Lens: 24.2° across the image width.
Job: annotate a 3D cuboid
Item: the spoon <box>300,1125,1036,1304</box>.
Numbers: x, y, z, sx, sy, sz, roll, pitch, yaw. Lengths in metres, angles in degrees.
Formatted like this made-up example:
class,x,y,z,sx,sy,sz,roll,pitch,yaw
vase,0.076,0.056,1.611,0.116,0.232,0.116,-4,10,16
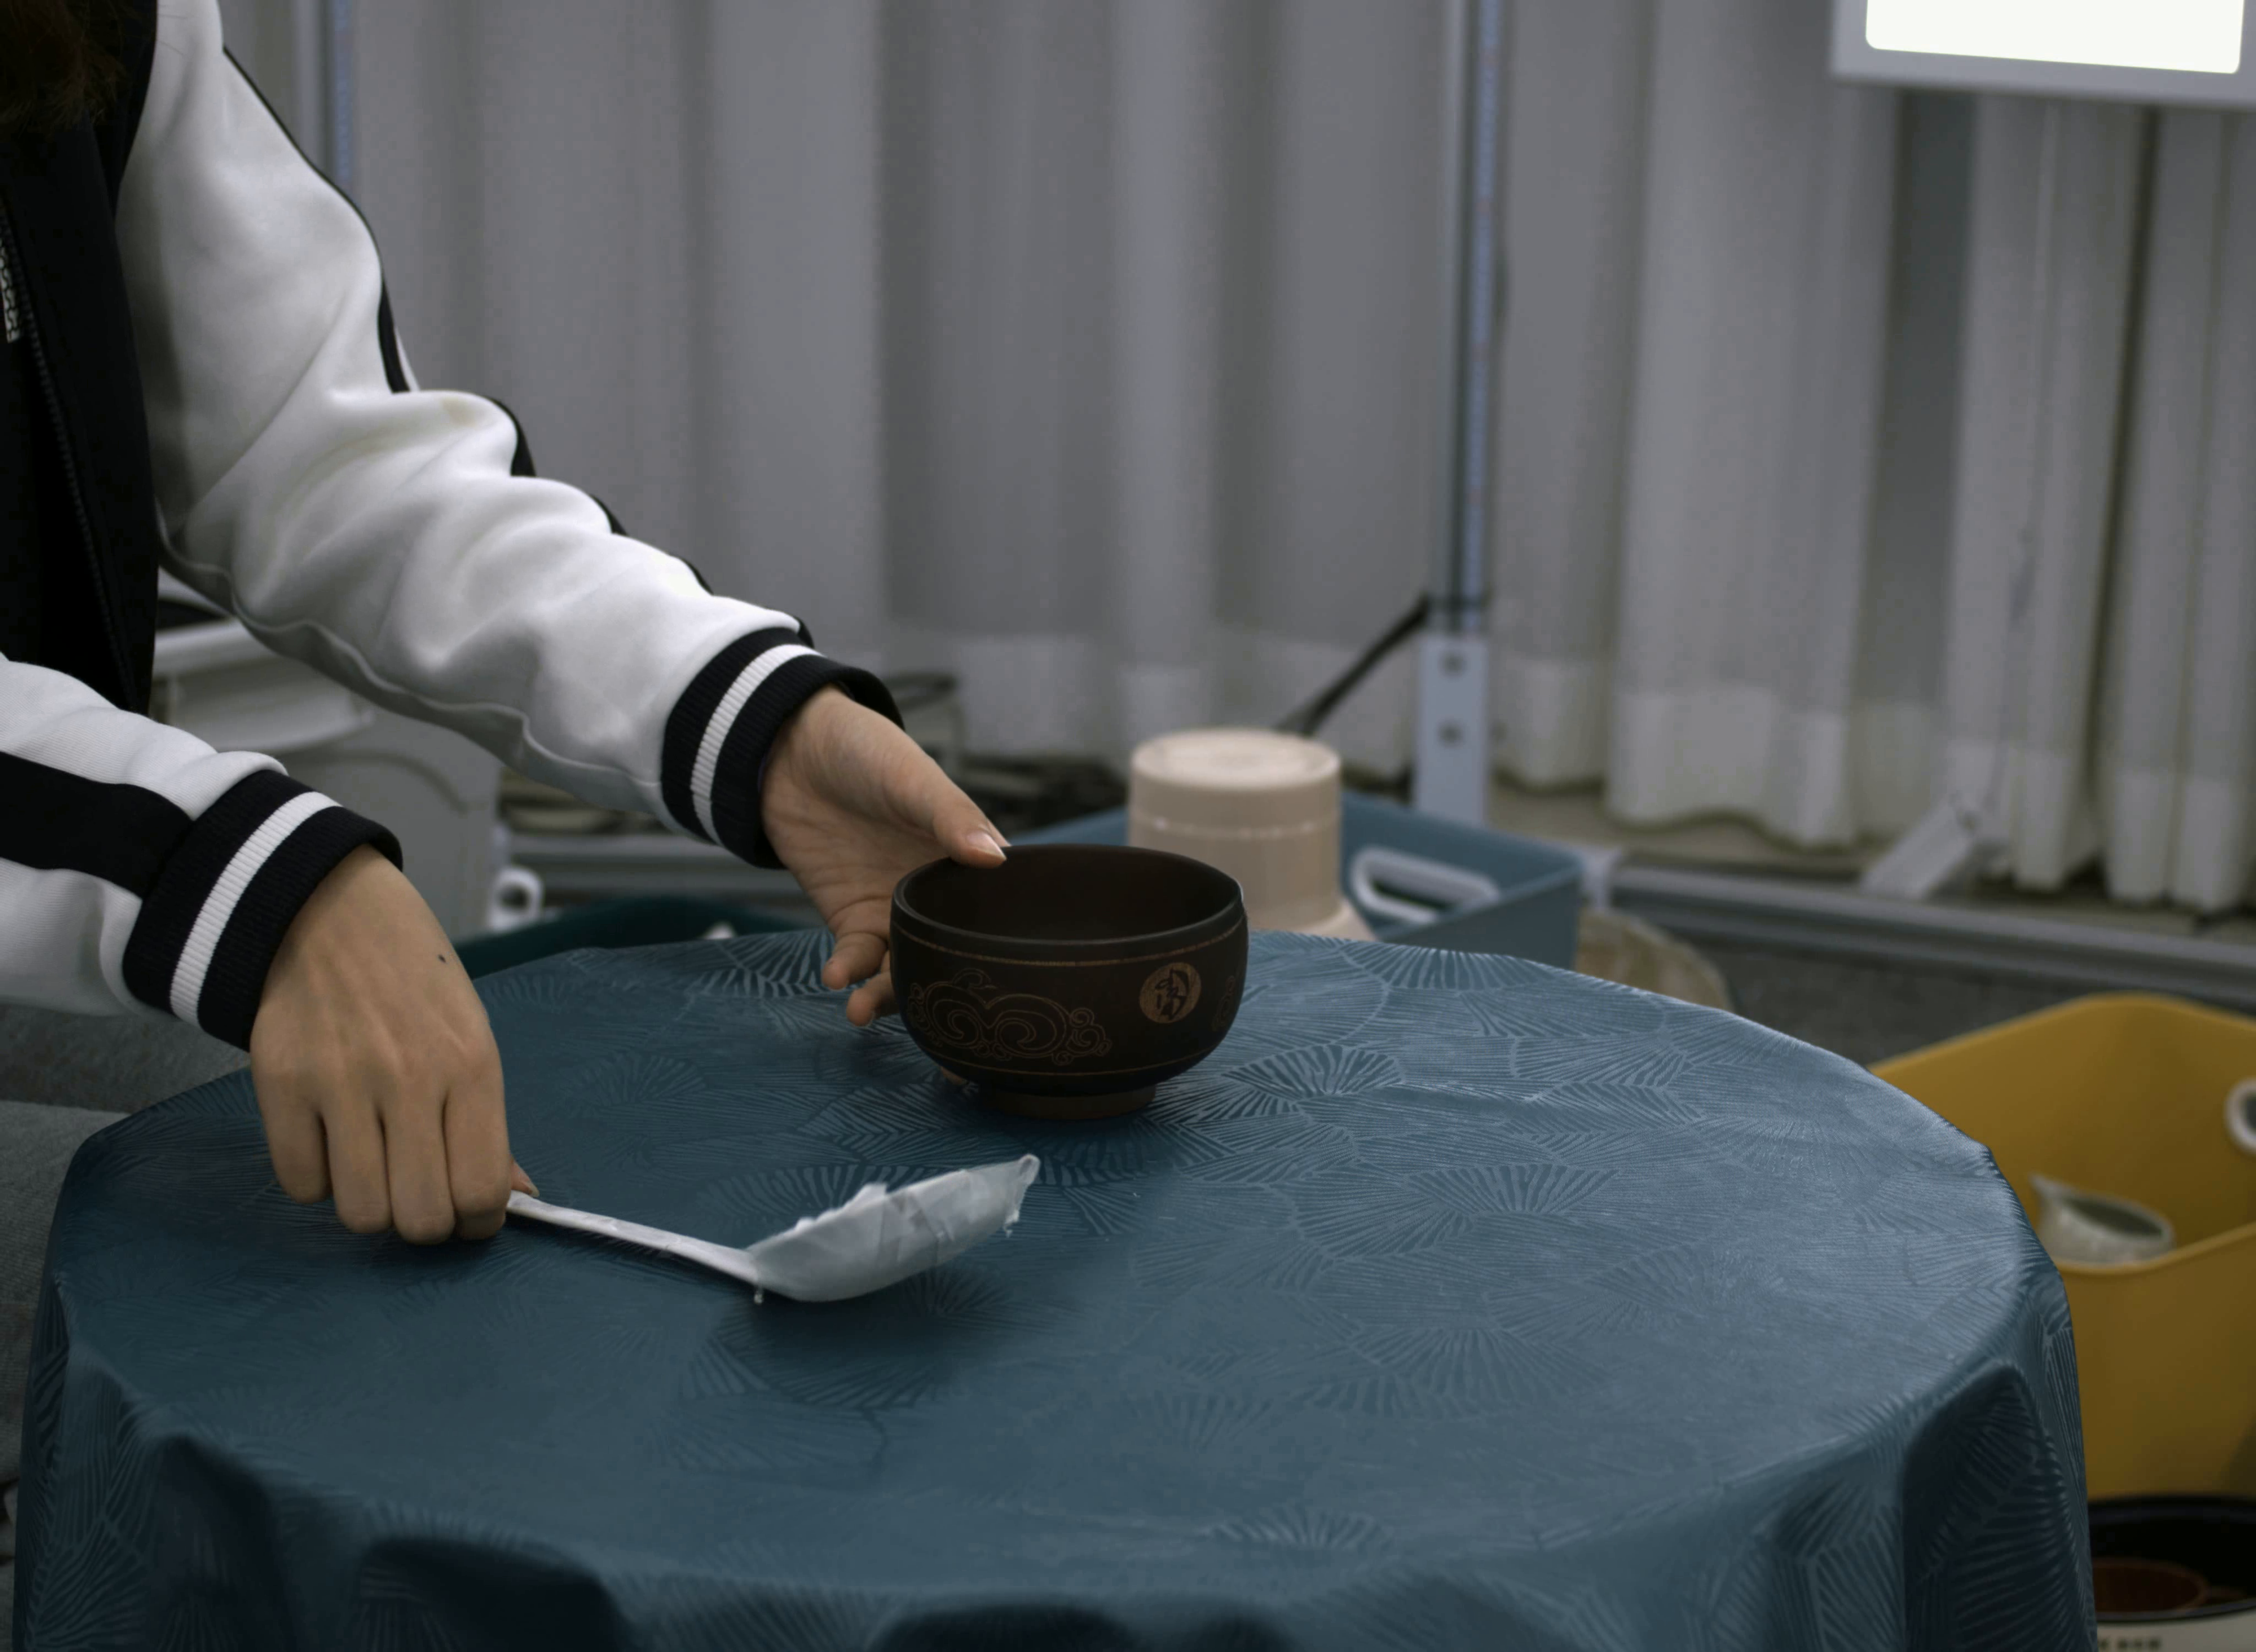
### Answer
class,x,y,z,sx,sy,sz,roll,pitch,yaw
spoon,-0.145,0.095,1.569,0.274,0.060,0.101,13,11,37

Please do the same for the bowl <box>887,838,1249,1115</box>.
class,x,y,z,sx,sy,sz,roll,pitch,yaw
bowl,-0.019,0.052,1.701,0.117,0.070,0.117,1,15,0
